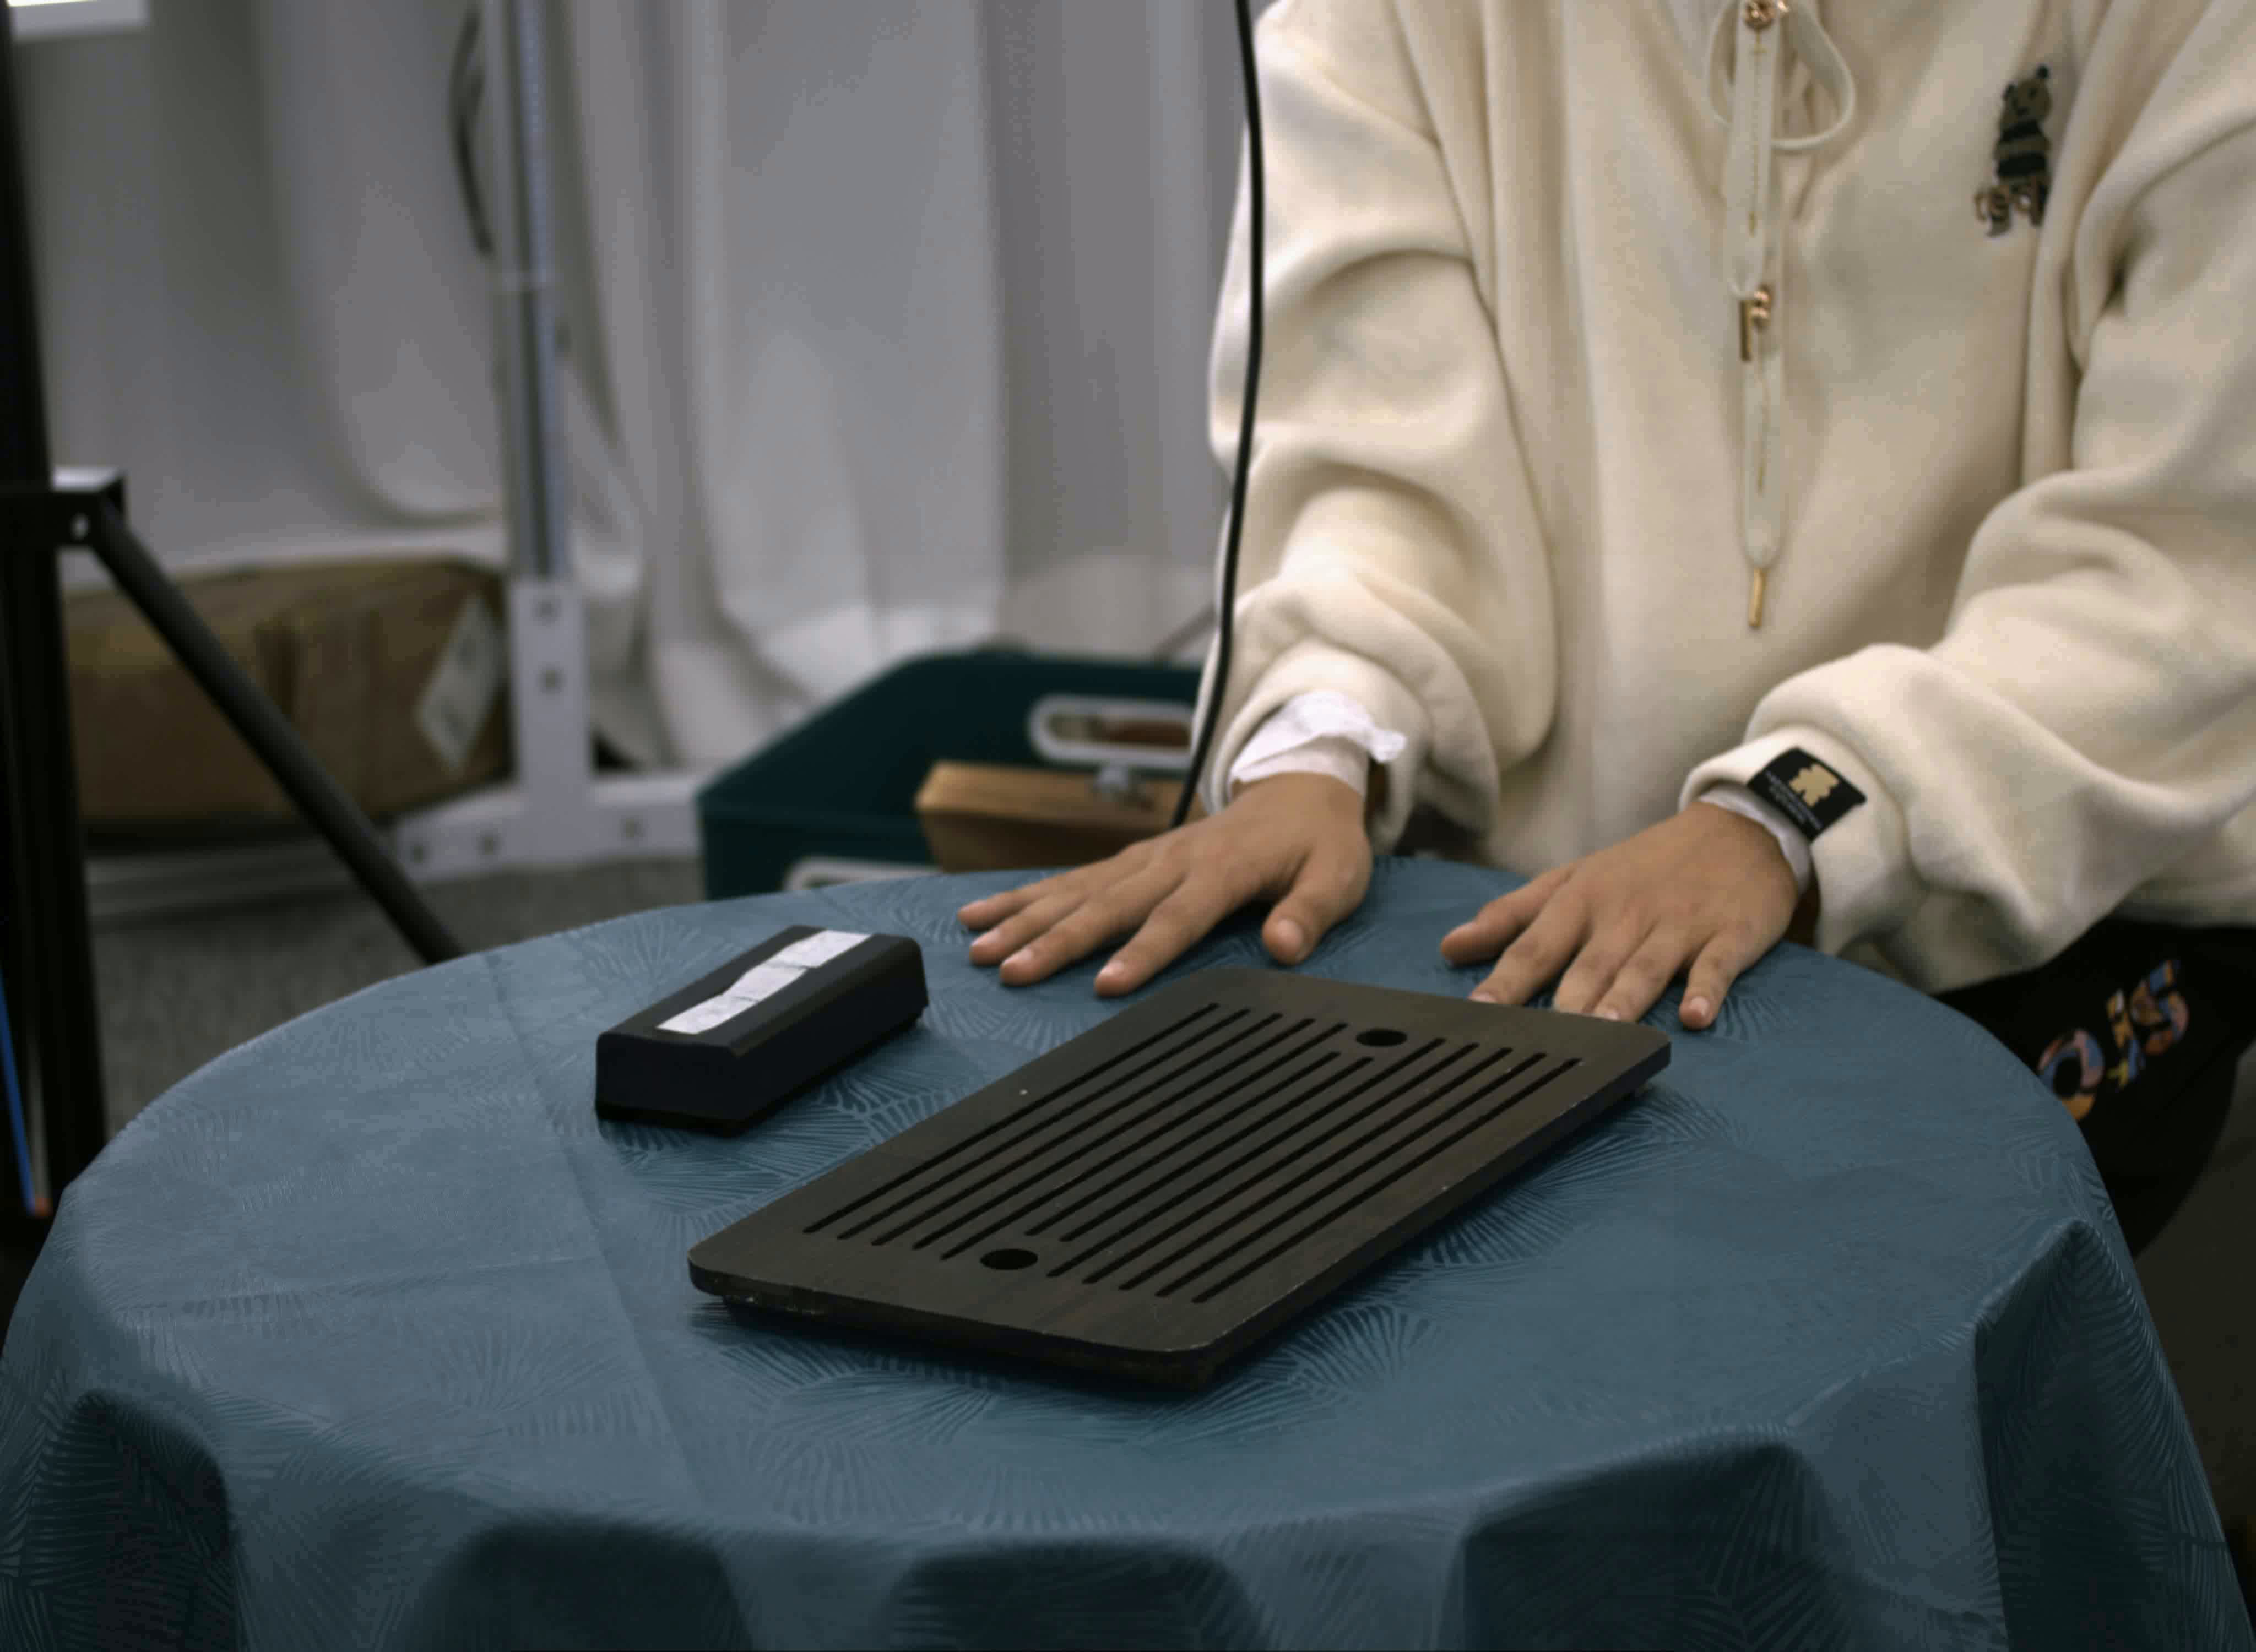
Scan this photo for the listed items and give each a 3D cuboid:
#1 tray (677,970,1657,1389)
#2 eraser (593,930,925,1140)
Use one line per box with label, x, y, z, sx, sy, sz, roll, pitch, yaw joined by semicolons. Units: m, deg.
tray;0.019;0.100;1.551;0.173;0.018;0.300;7;19;31
eraser;-0.115;0.065;1.680;0.054;0.030;0.123;8;18;25
